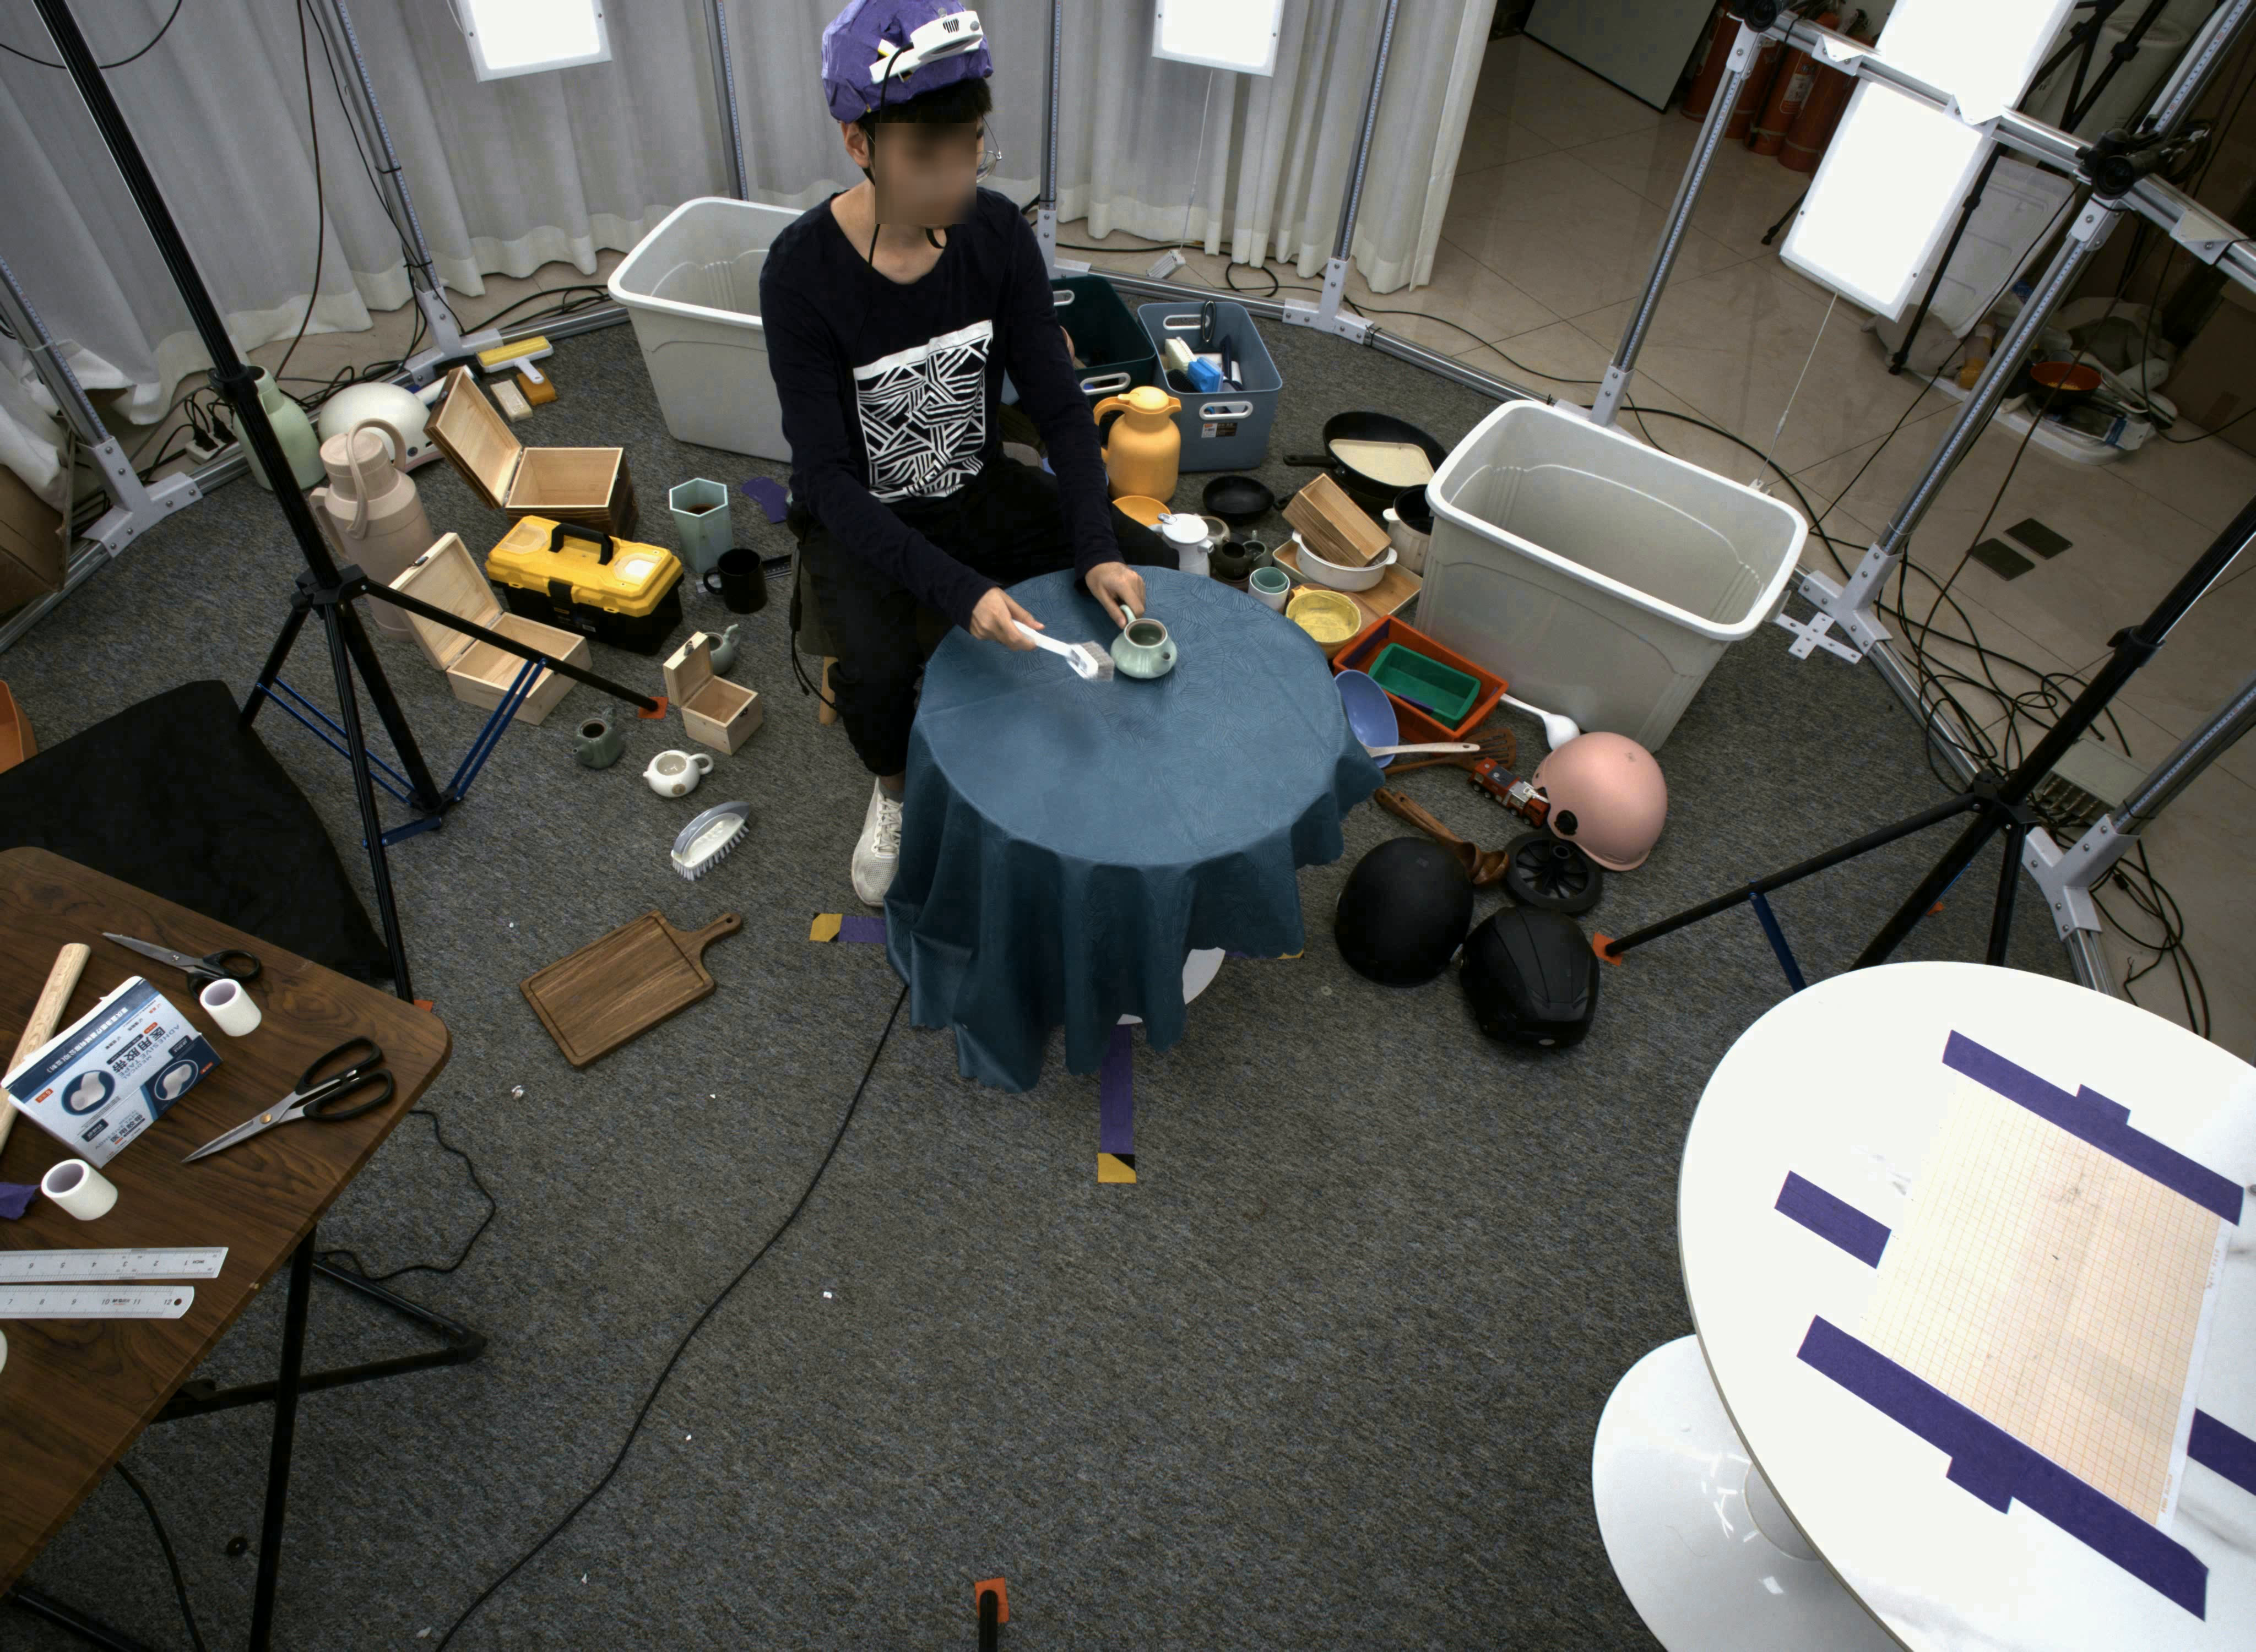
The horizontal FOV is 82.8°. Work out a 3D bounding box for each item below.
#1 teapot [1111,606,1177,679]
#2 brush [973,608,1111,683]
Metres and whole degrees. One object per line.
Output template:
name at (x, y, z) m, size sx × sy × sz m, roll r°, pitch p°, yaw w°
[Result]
teapot at (0.022, -0.263, 1.858) m, size 0.096 × 0.060 × 0.139 m, roll -26°, pitch 57°, yaw -20°
brush at (-0.118, -0.260, 1.785) m, size 0.247 × 0.033 × 0.050 m, roll 30°, pitch 46°, yaw 33°
